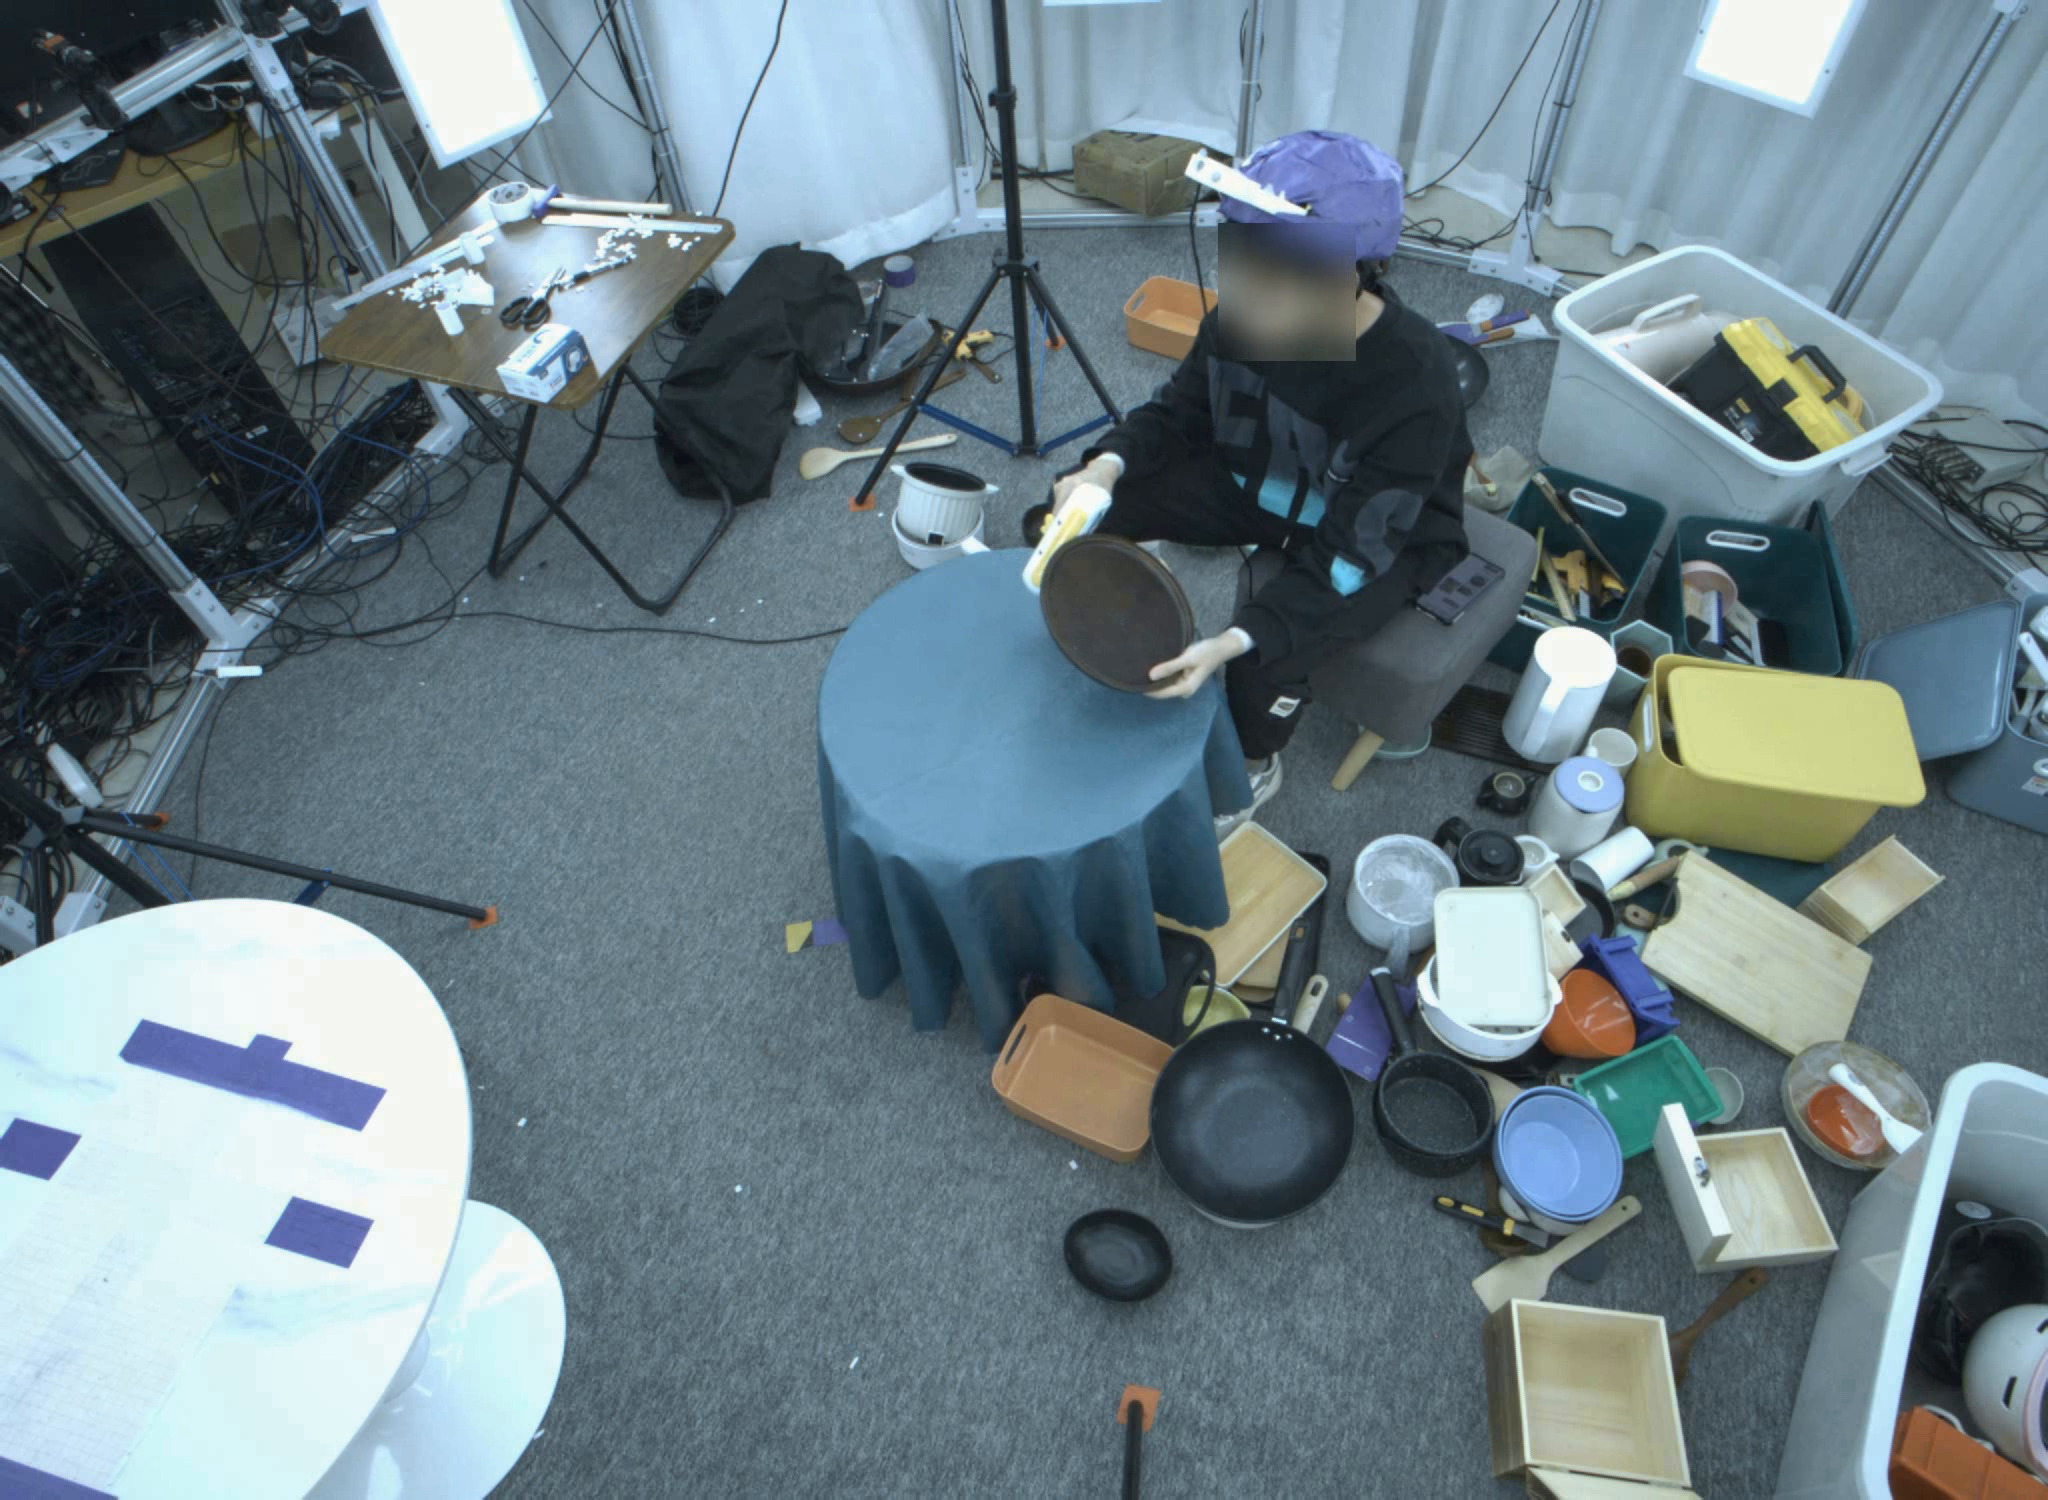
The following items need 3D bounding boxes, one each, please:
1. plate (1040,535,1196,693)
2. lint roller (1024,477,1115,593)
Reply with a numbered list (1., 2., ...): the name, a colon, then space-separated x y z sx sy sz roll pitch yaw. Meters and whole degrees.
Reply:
1. plate: 0.133 -0.194 1.750 0.260 0.029 0.252 14 61 -26
2. lint roller: 0.076 -0.344 1.848 0.074 0.192 0.193 31 32 2
